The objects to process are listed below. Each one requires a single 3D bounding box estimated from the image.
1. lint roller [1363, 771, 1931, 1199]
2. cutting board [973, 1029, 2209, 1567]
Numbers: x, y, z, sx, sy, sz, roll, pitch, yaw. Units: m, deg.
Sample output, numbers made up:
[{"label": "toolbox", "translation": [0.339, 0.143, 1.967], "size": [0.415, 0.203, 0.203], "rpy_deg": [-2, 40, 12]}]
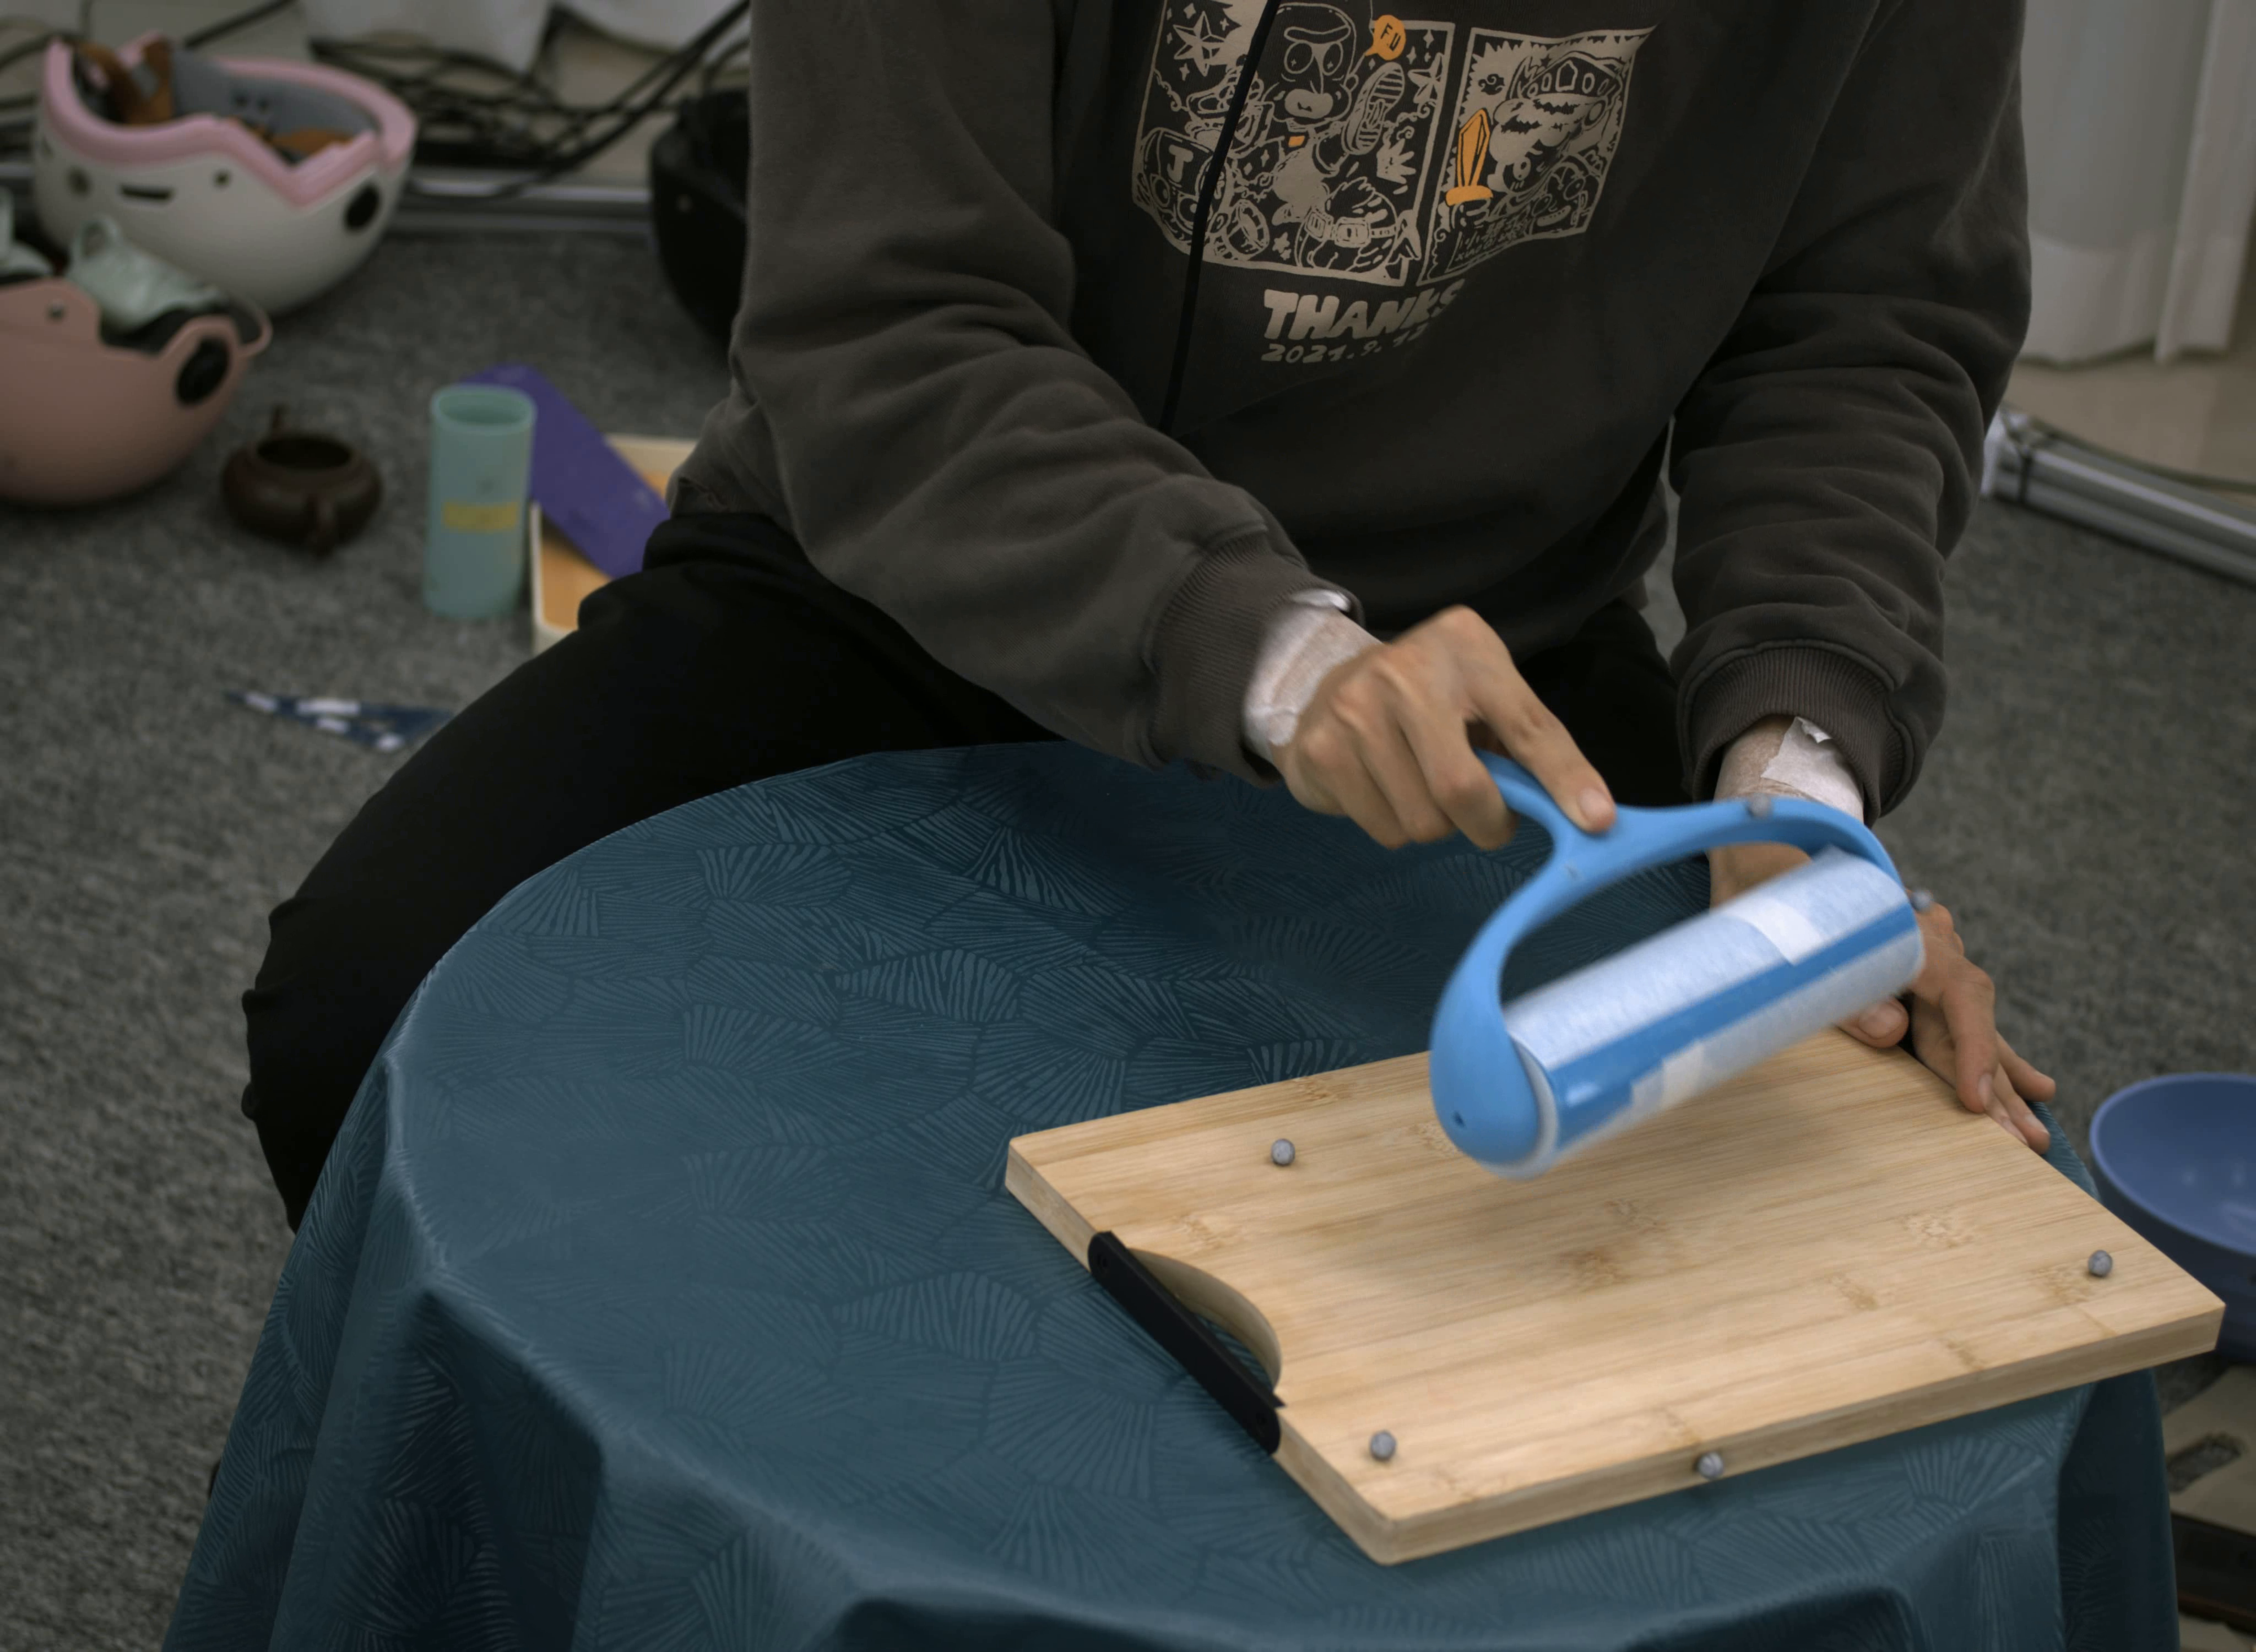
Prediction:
[{"label": "lint roller", "translation": [0.152, 0.028, 1.801], "size": [0.181, 0.068, 0.228], "rpy_deg": [43, 45, 21]}, {"label": "cutting board", "translation": [0.156, 0.142, 1.785], "size": [0.346, 0.023, 0.253], "rpy_deg": [-10, 30, -30]}]
